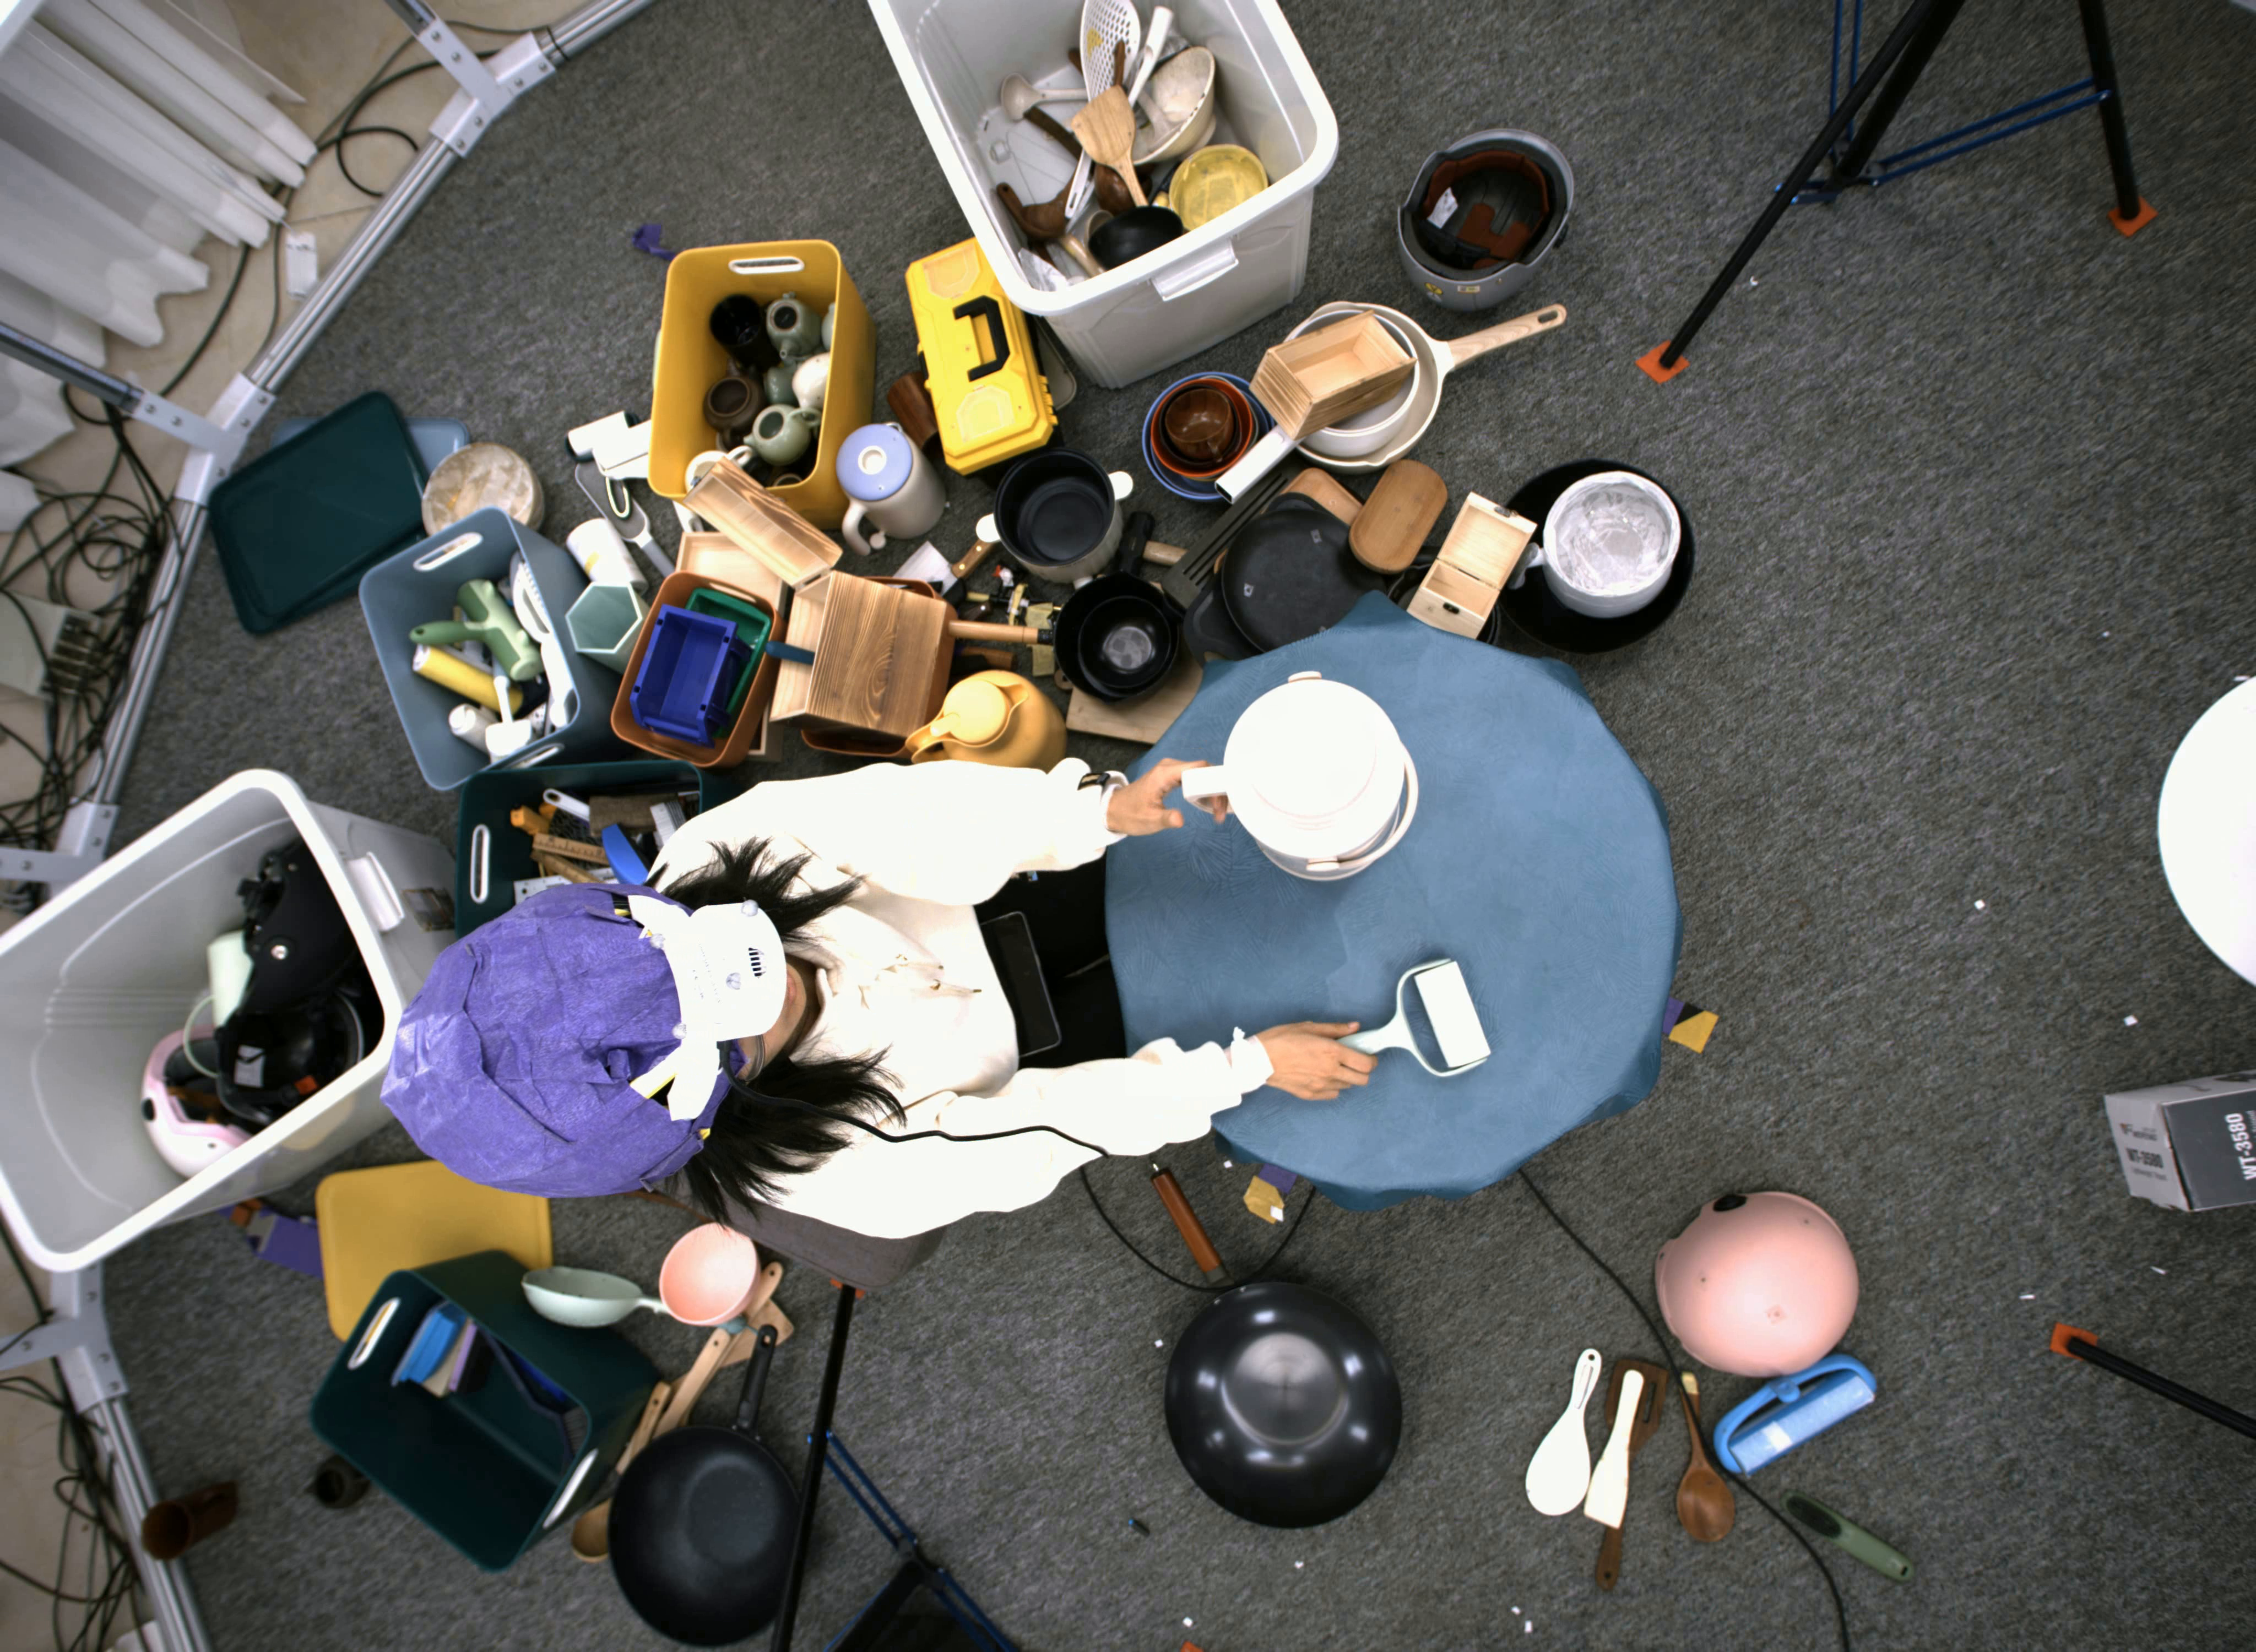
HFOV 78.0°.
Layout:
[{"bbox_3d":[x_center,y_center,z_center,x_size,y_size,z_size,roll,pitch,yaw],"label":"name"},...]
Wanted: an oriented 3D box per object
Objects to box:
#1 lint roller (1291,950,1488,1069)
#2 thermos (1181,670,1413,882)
[{"bbox_3d":[0.261,0.208,1.430,0.198,0.048,0.116,-20,86,8],"label":"lint roller"},{"bbox_3d":[0.162,-0.041,1.286,0.208,0.406,0.174,-6,84,10],"label":"thermos"}]
